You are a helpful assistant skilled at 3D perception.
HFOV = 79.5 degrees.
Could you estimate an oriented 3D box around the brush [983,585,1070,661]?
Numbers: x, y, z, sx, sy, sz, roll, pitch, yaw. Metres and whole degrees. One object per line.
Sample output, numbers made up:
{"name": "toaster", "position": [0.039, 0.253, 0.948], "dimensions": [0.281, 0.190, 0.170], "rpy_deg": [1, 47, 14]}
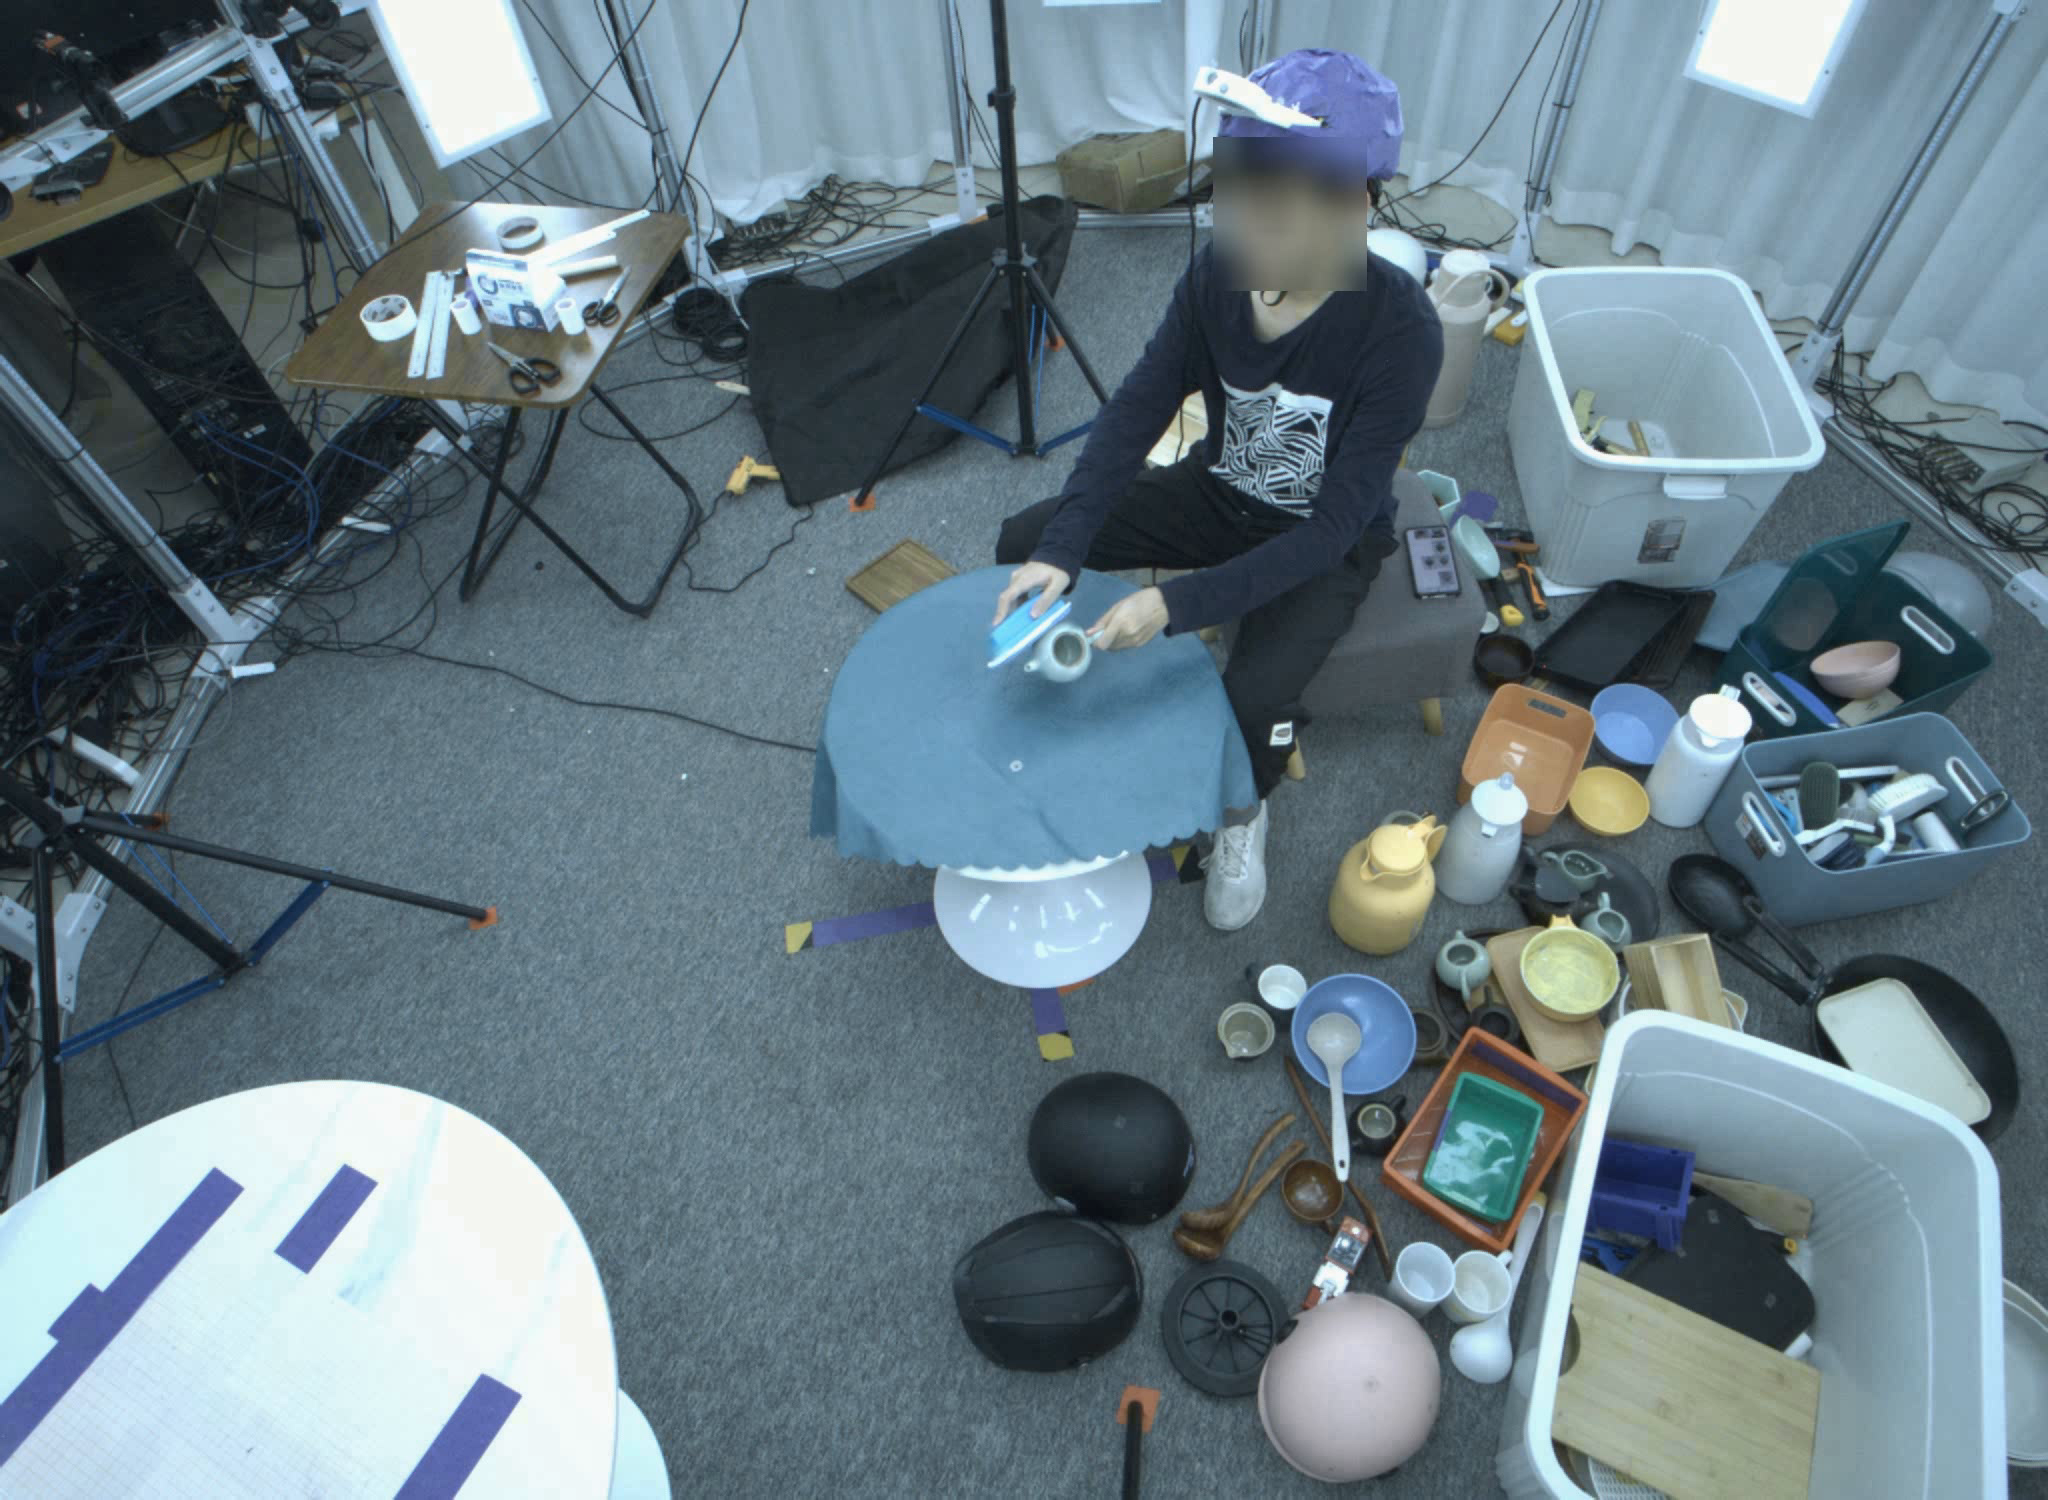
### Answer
{"name": "brush", "position": [-0.002, -0.187, 1.758], "dimensions": [0.144, 0.083, 0.056], "rpy_deg": [-44, 103, -13]}

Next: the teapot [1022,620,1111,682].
{"name": "teapot", "position": [0.055, -0.142, 1.771], "dimensions": [0.145, 0.074, 0.088], "rpy_deg": [-22, 96, -14]}
